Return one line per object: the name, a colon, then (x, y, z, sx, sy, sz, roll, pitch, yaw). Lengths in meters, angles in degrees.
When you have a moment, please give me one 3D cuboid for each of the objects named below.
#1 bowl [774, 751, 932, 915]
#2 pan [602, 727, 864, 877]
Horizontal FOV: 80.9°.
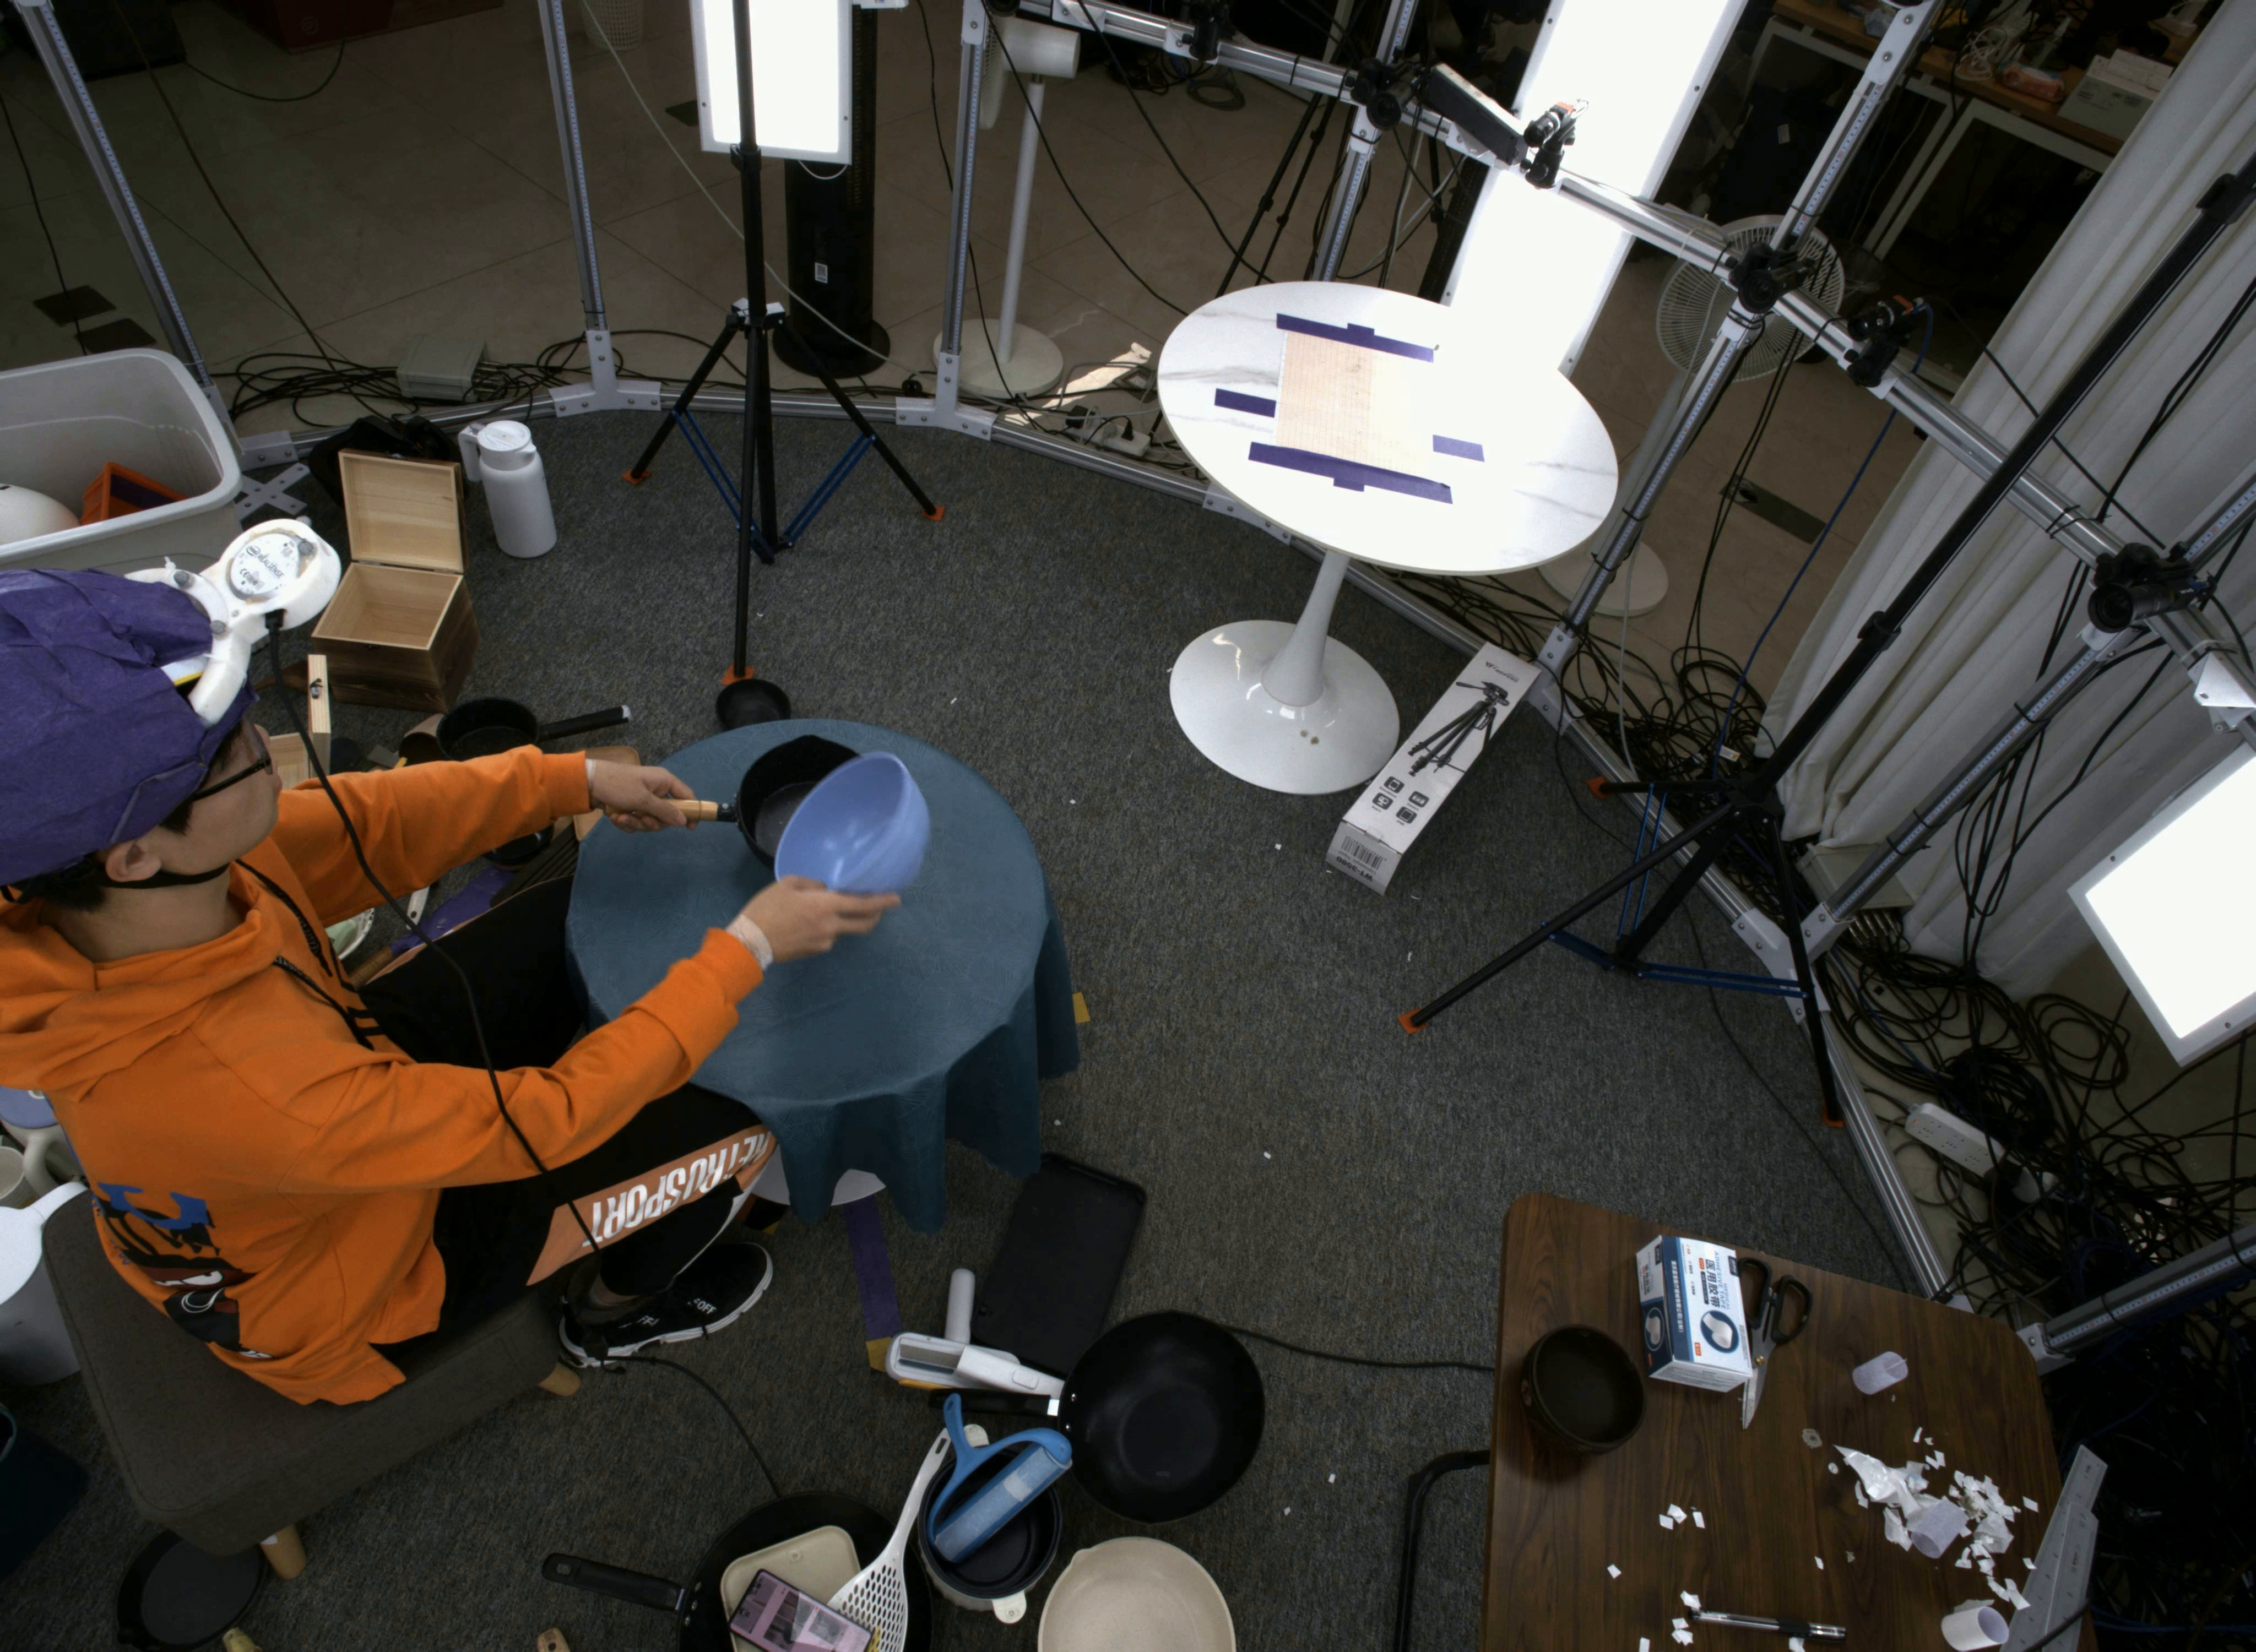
bowl: (-0.295, 0.023, 1.468, 0.192, 0.099, 0.193, -19, 47, 23)
pan: (-0.473, -0.014, 1.601, 0.345, 0.109, 0.205, -4, 66, -21)
